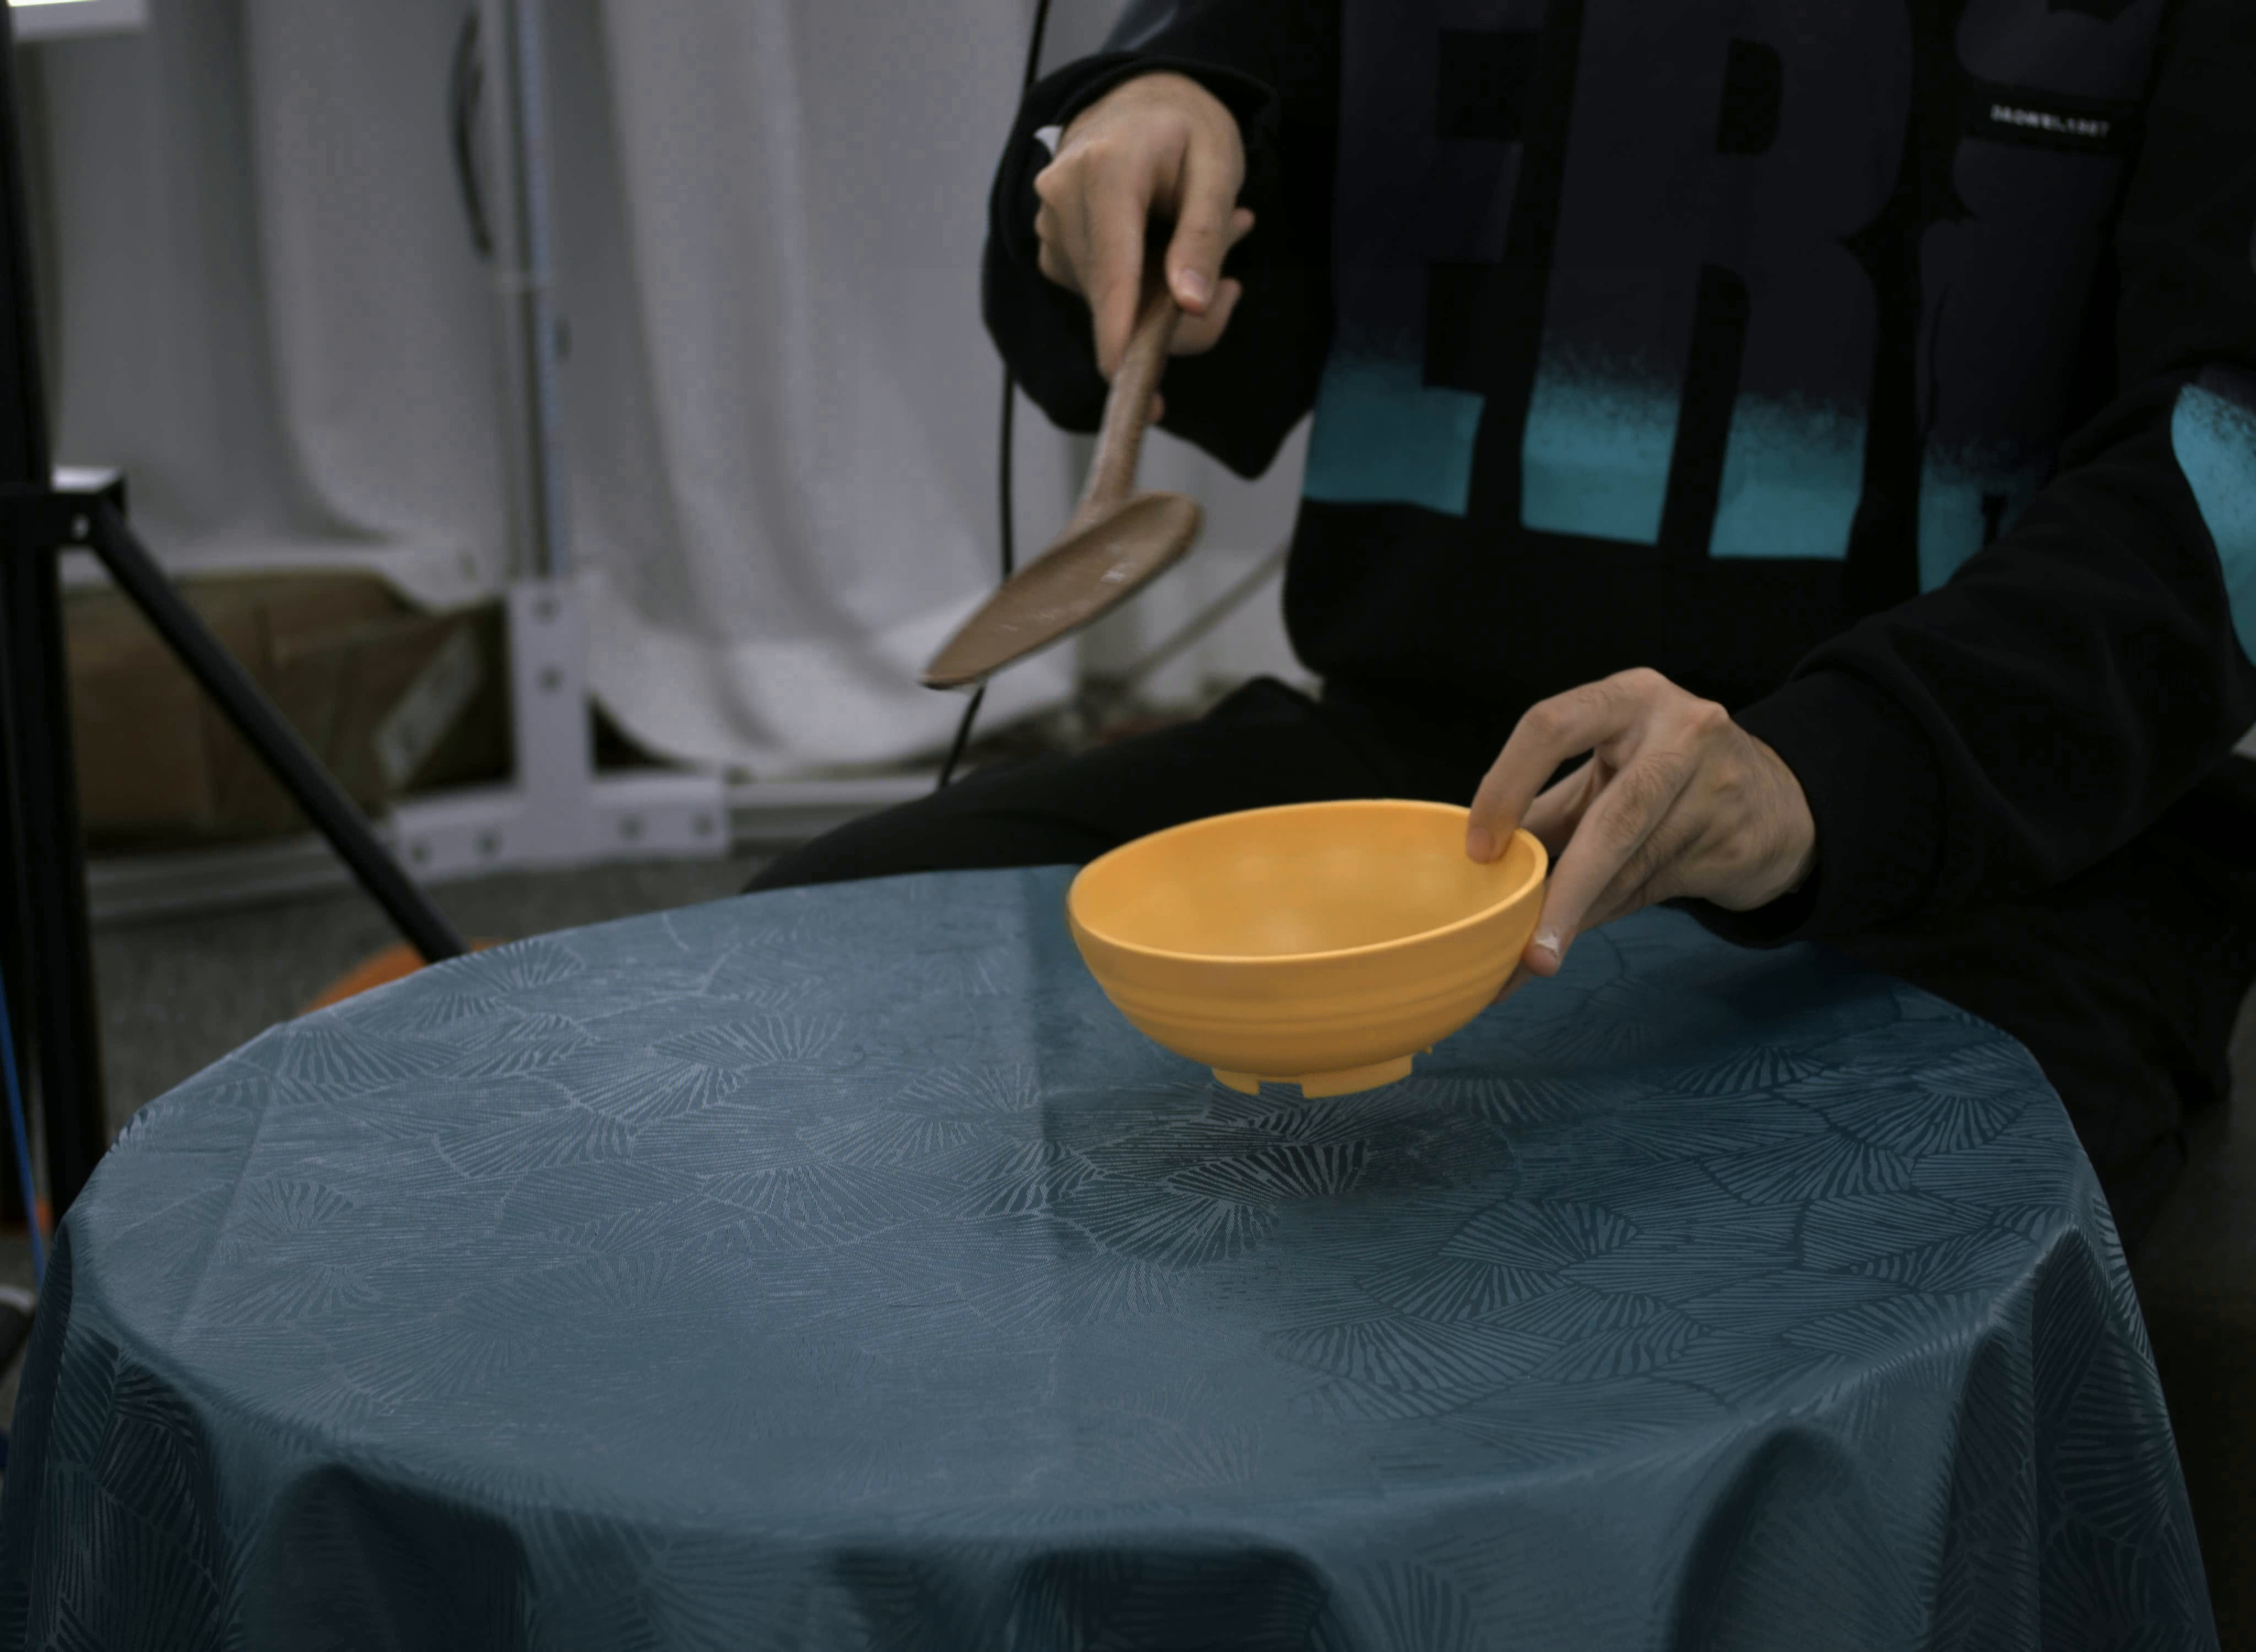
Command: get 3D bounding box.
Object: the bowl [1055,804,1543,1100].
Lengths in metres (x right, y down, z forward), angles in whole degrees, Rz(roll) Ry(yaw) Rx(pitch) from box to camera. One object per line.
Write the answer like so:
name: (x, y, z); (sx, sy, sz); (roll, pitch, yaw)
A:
bowl: (0.052, 0.043, 1.580); (0.144, 0.060, 0.146); (-4, 17, 0)

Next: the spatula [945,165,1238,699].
spatula: (0.005, -0.141, 1.739); (0.097, 0.015, 0.387); (-29, 21, 21)
